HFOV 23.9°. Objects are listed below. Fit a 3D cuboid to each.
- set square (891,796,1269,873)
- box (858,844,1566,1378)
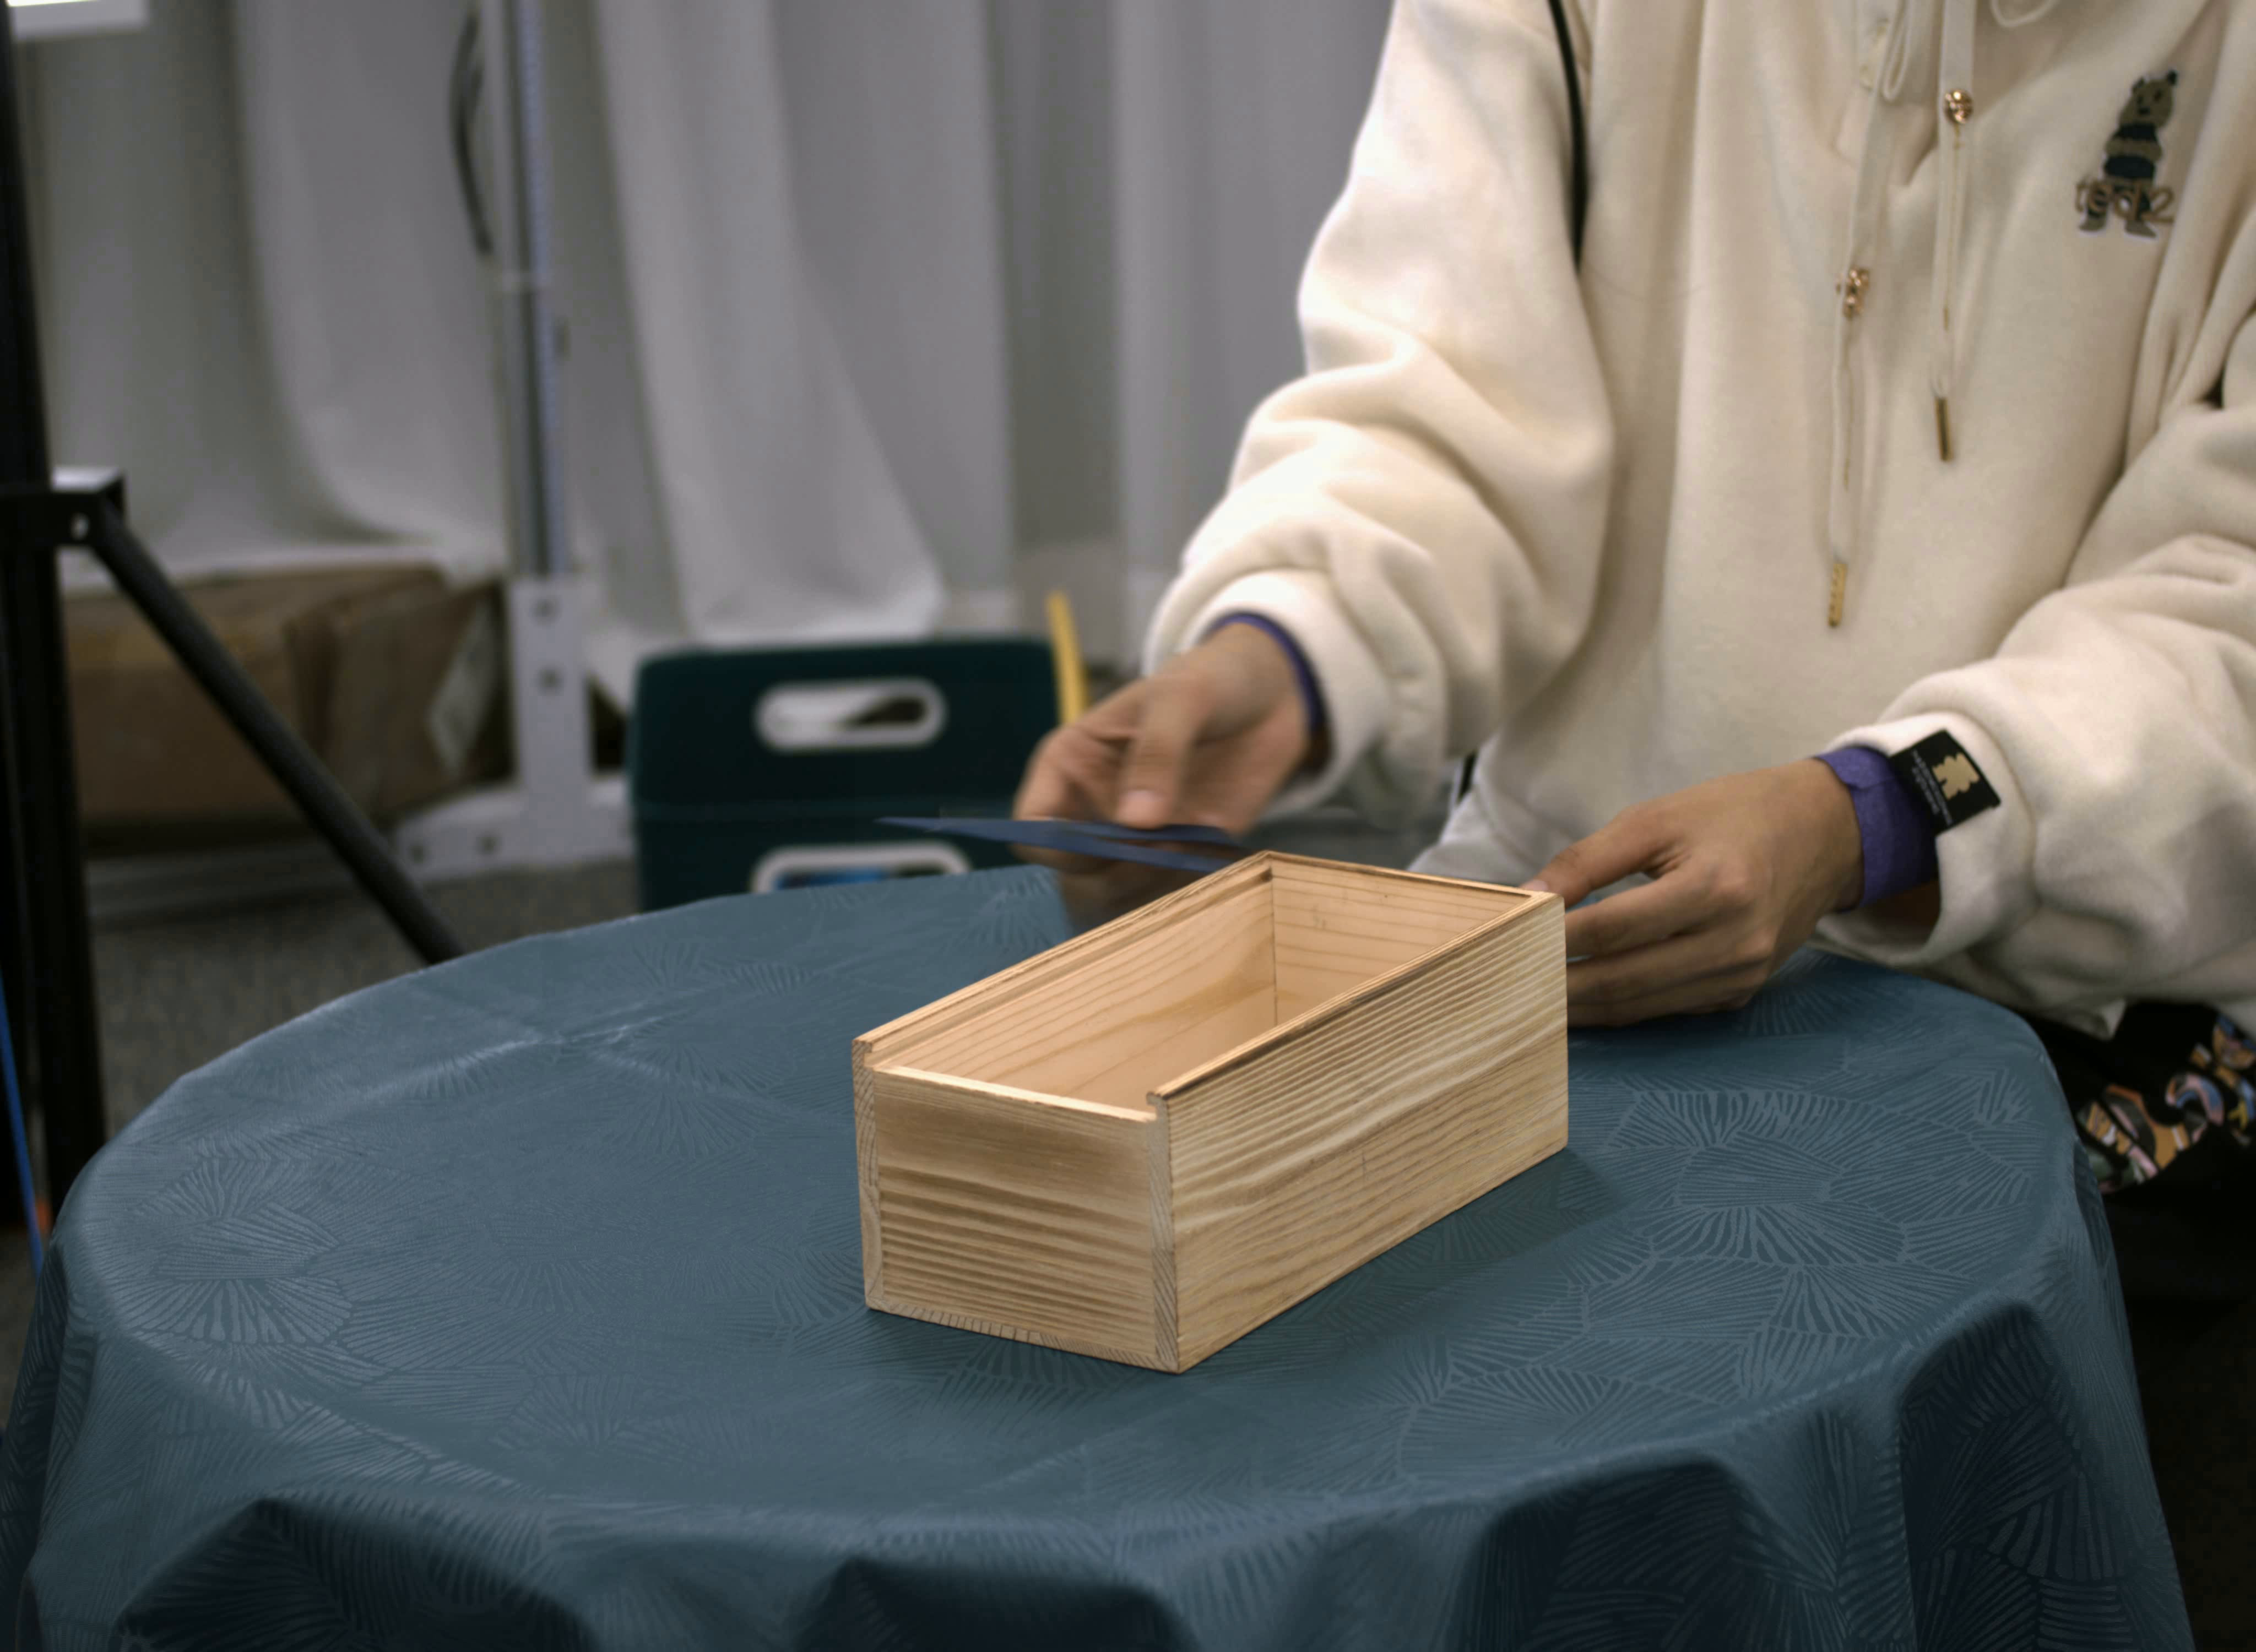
[{"bbox_3d":[-0.006,-0.001,1.679,0.133,0.006,0.060,10,16,17],"label":"set square"},{"bbox_3d":[0.028,0.077,1.516,0.109,0.080,0.207,9,20,33],"label":"box"}]
